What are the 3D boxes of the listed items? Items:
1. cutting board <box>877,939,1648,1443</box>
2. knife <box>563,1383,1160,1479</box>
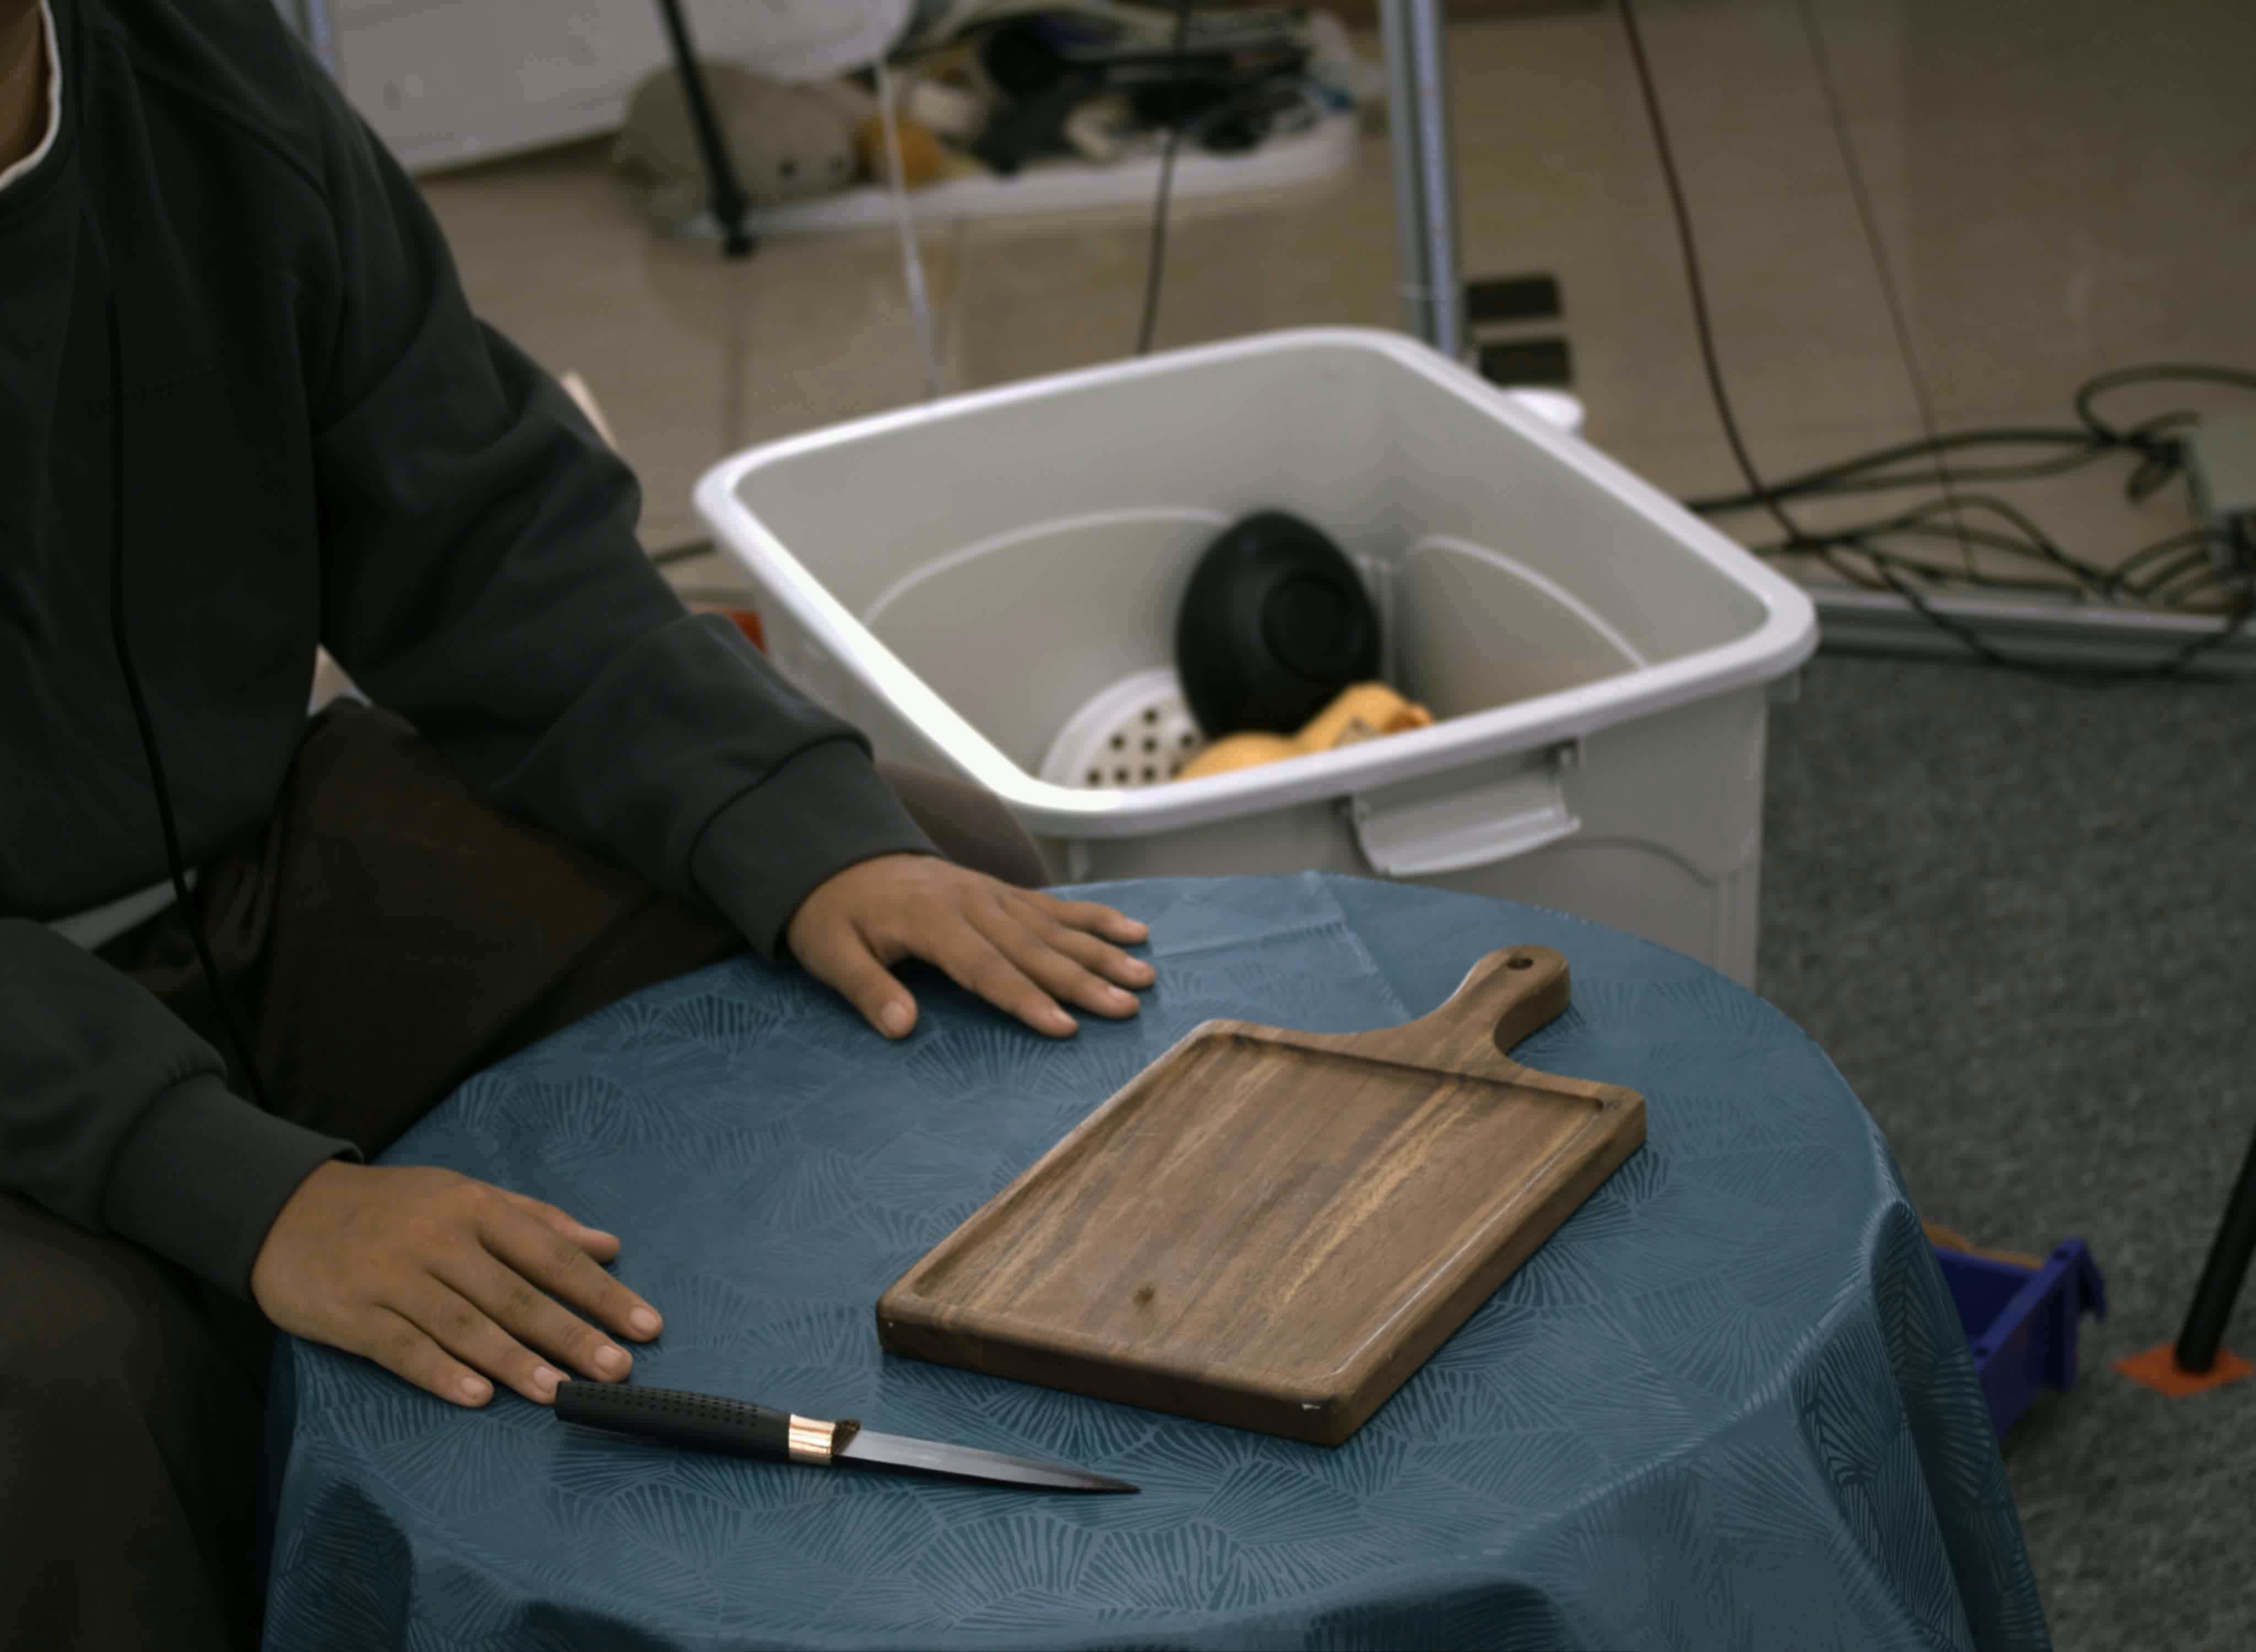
[{"bbox_3d":[0.077,0.125,2.135,0.200,0.023,0.348,9,29,30],"label":"cutting board"},{"bbox_3d":[-0.095,0.215,1.993,0.225,0.017,0.026,5,20,22],"label":"knife"}]
